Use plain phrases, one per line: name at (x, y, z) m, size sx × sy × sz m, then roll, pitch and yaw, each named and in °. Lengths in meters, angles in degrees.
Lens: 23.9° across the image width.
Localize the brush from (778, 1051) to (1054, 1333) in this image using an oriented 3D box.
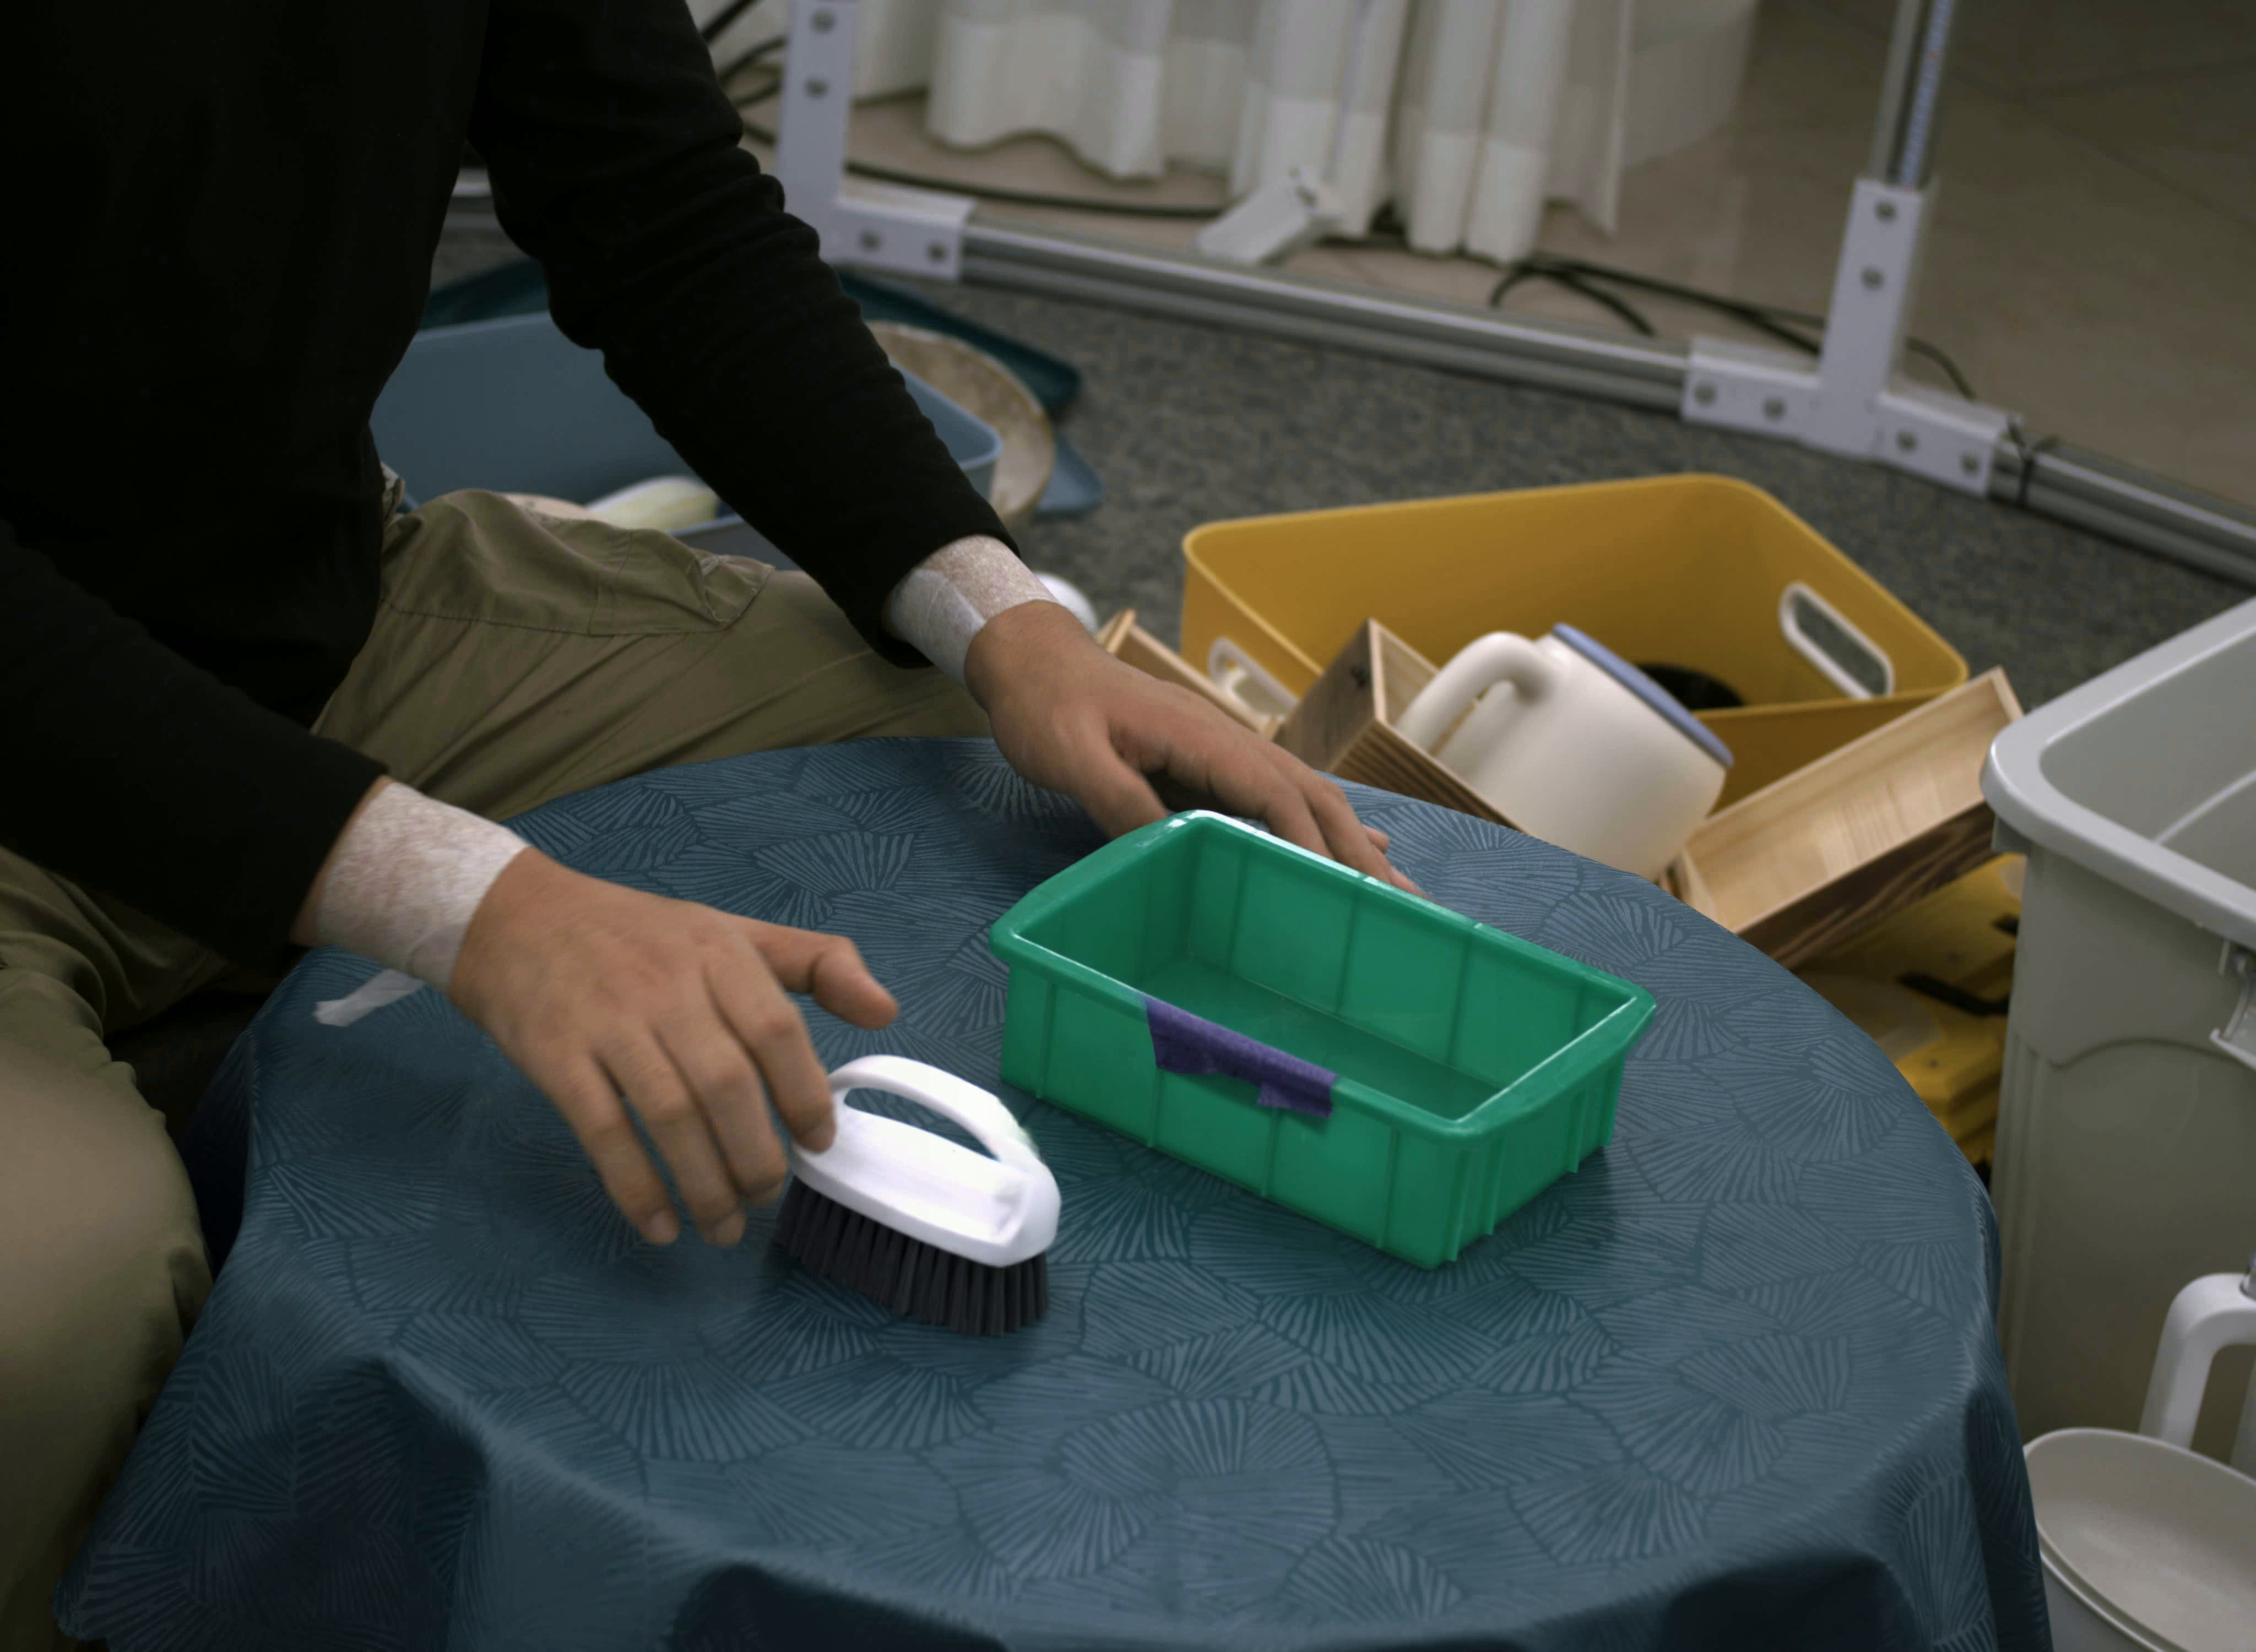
brush at (-0.068, 0.112, 1.727) m, size 0.100 × 0.072 × 0.050 m, roll 24°, pitch 31°, yaw 30°

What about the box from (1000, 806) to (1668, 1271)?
box at (0.068, 0.074, 1.846) m, size 0.211 × 0.065 × 0.138 m, roll 23°, pitch 33°, yaw 26°
